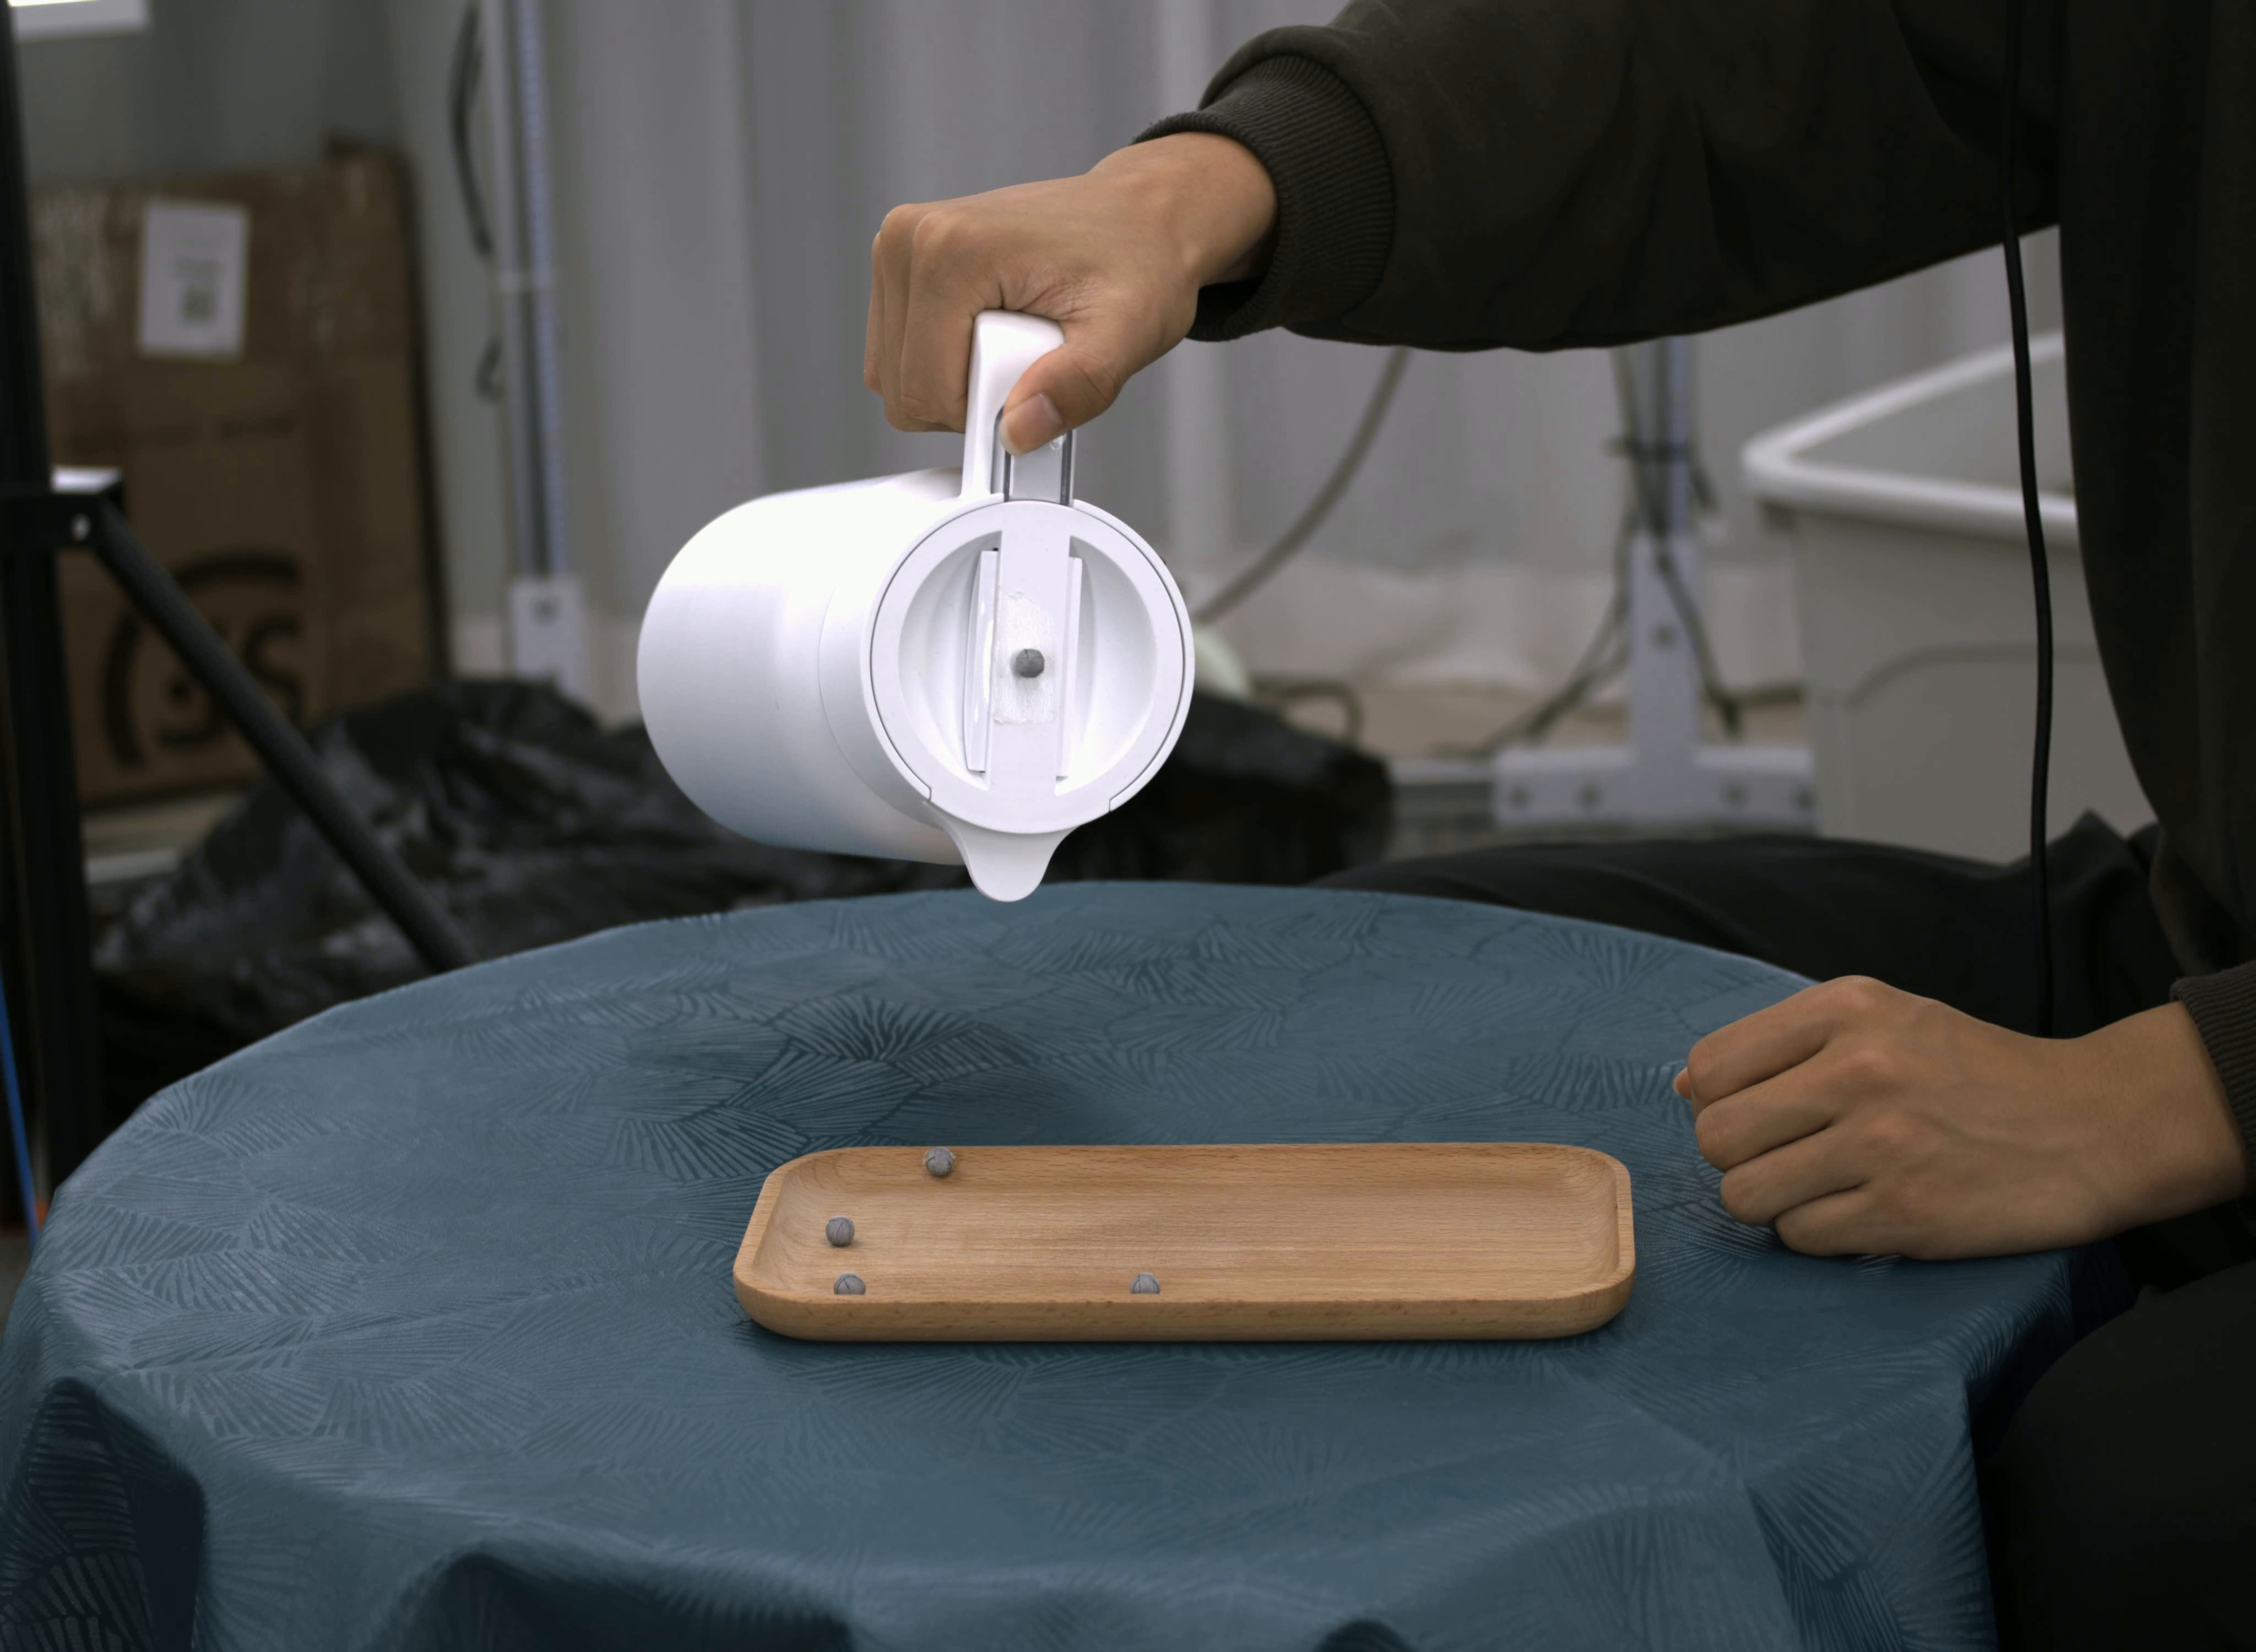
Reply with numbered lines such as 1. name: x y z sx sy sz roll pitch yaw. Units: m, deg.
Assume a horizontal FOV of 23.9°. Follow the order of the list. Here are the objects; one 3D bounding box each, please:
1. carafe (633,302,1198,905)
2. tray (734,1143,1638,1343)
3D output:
1. carafe: -0.067 -0.066 1.618 0.122 0.174 0.272 2 0 -15
2. tray: 0.018 0.118 1.495 0.251 0.023 0.130 0 18 7
